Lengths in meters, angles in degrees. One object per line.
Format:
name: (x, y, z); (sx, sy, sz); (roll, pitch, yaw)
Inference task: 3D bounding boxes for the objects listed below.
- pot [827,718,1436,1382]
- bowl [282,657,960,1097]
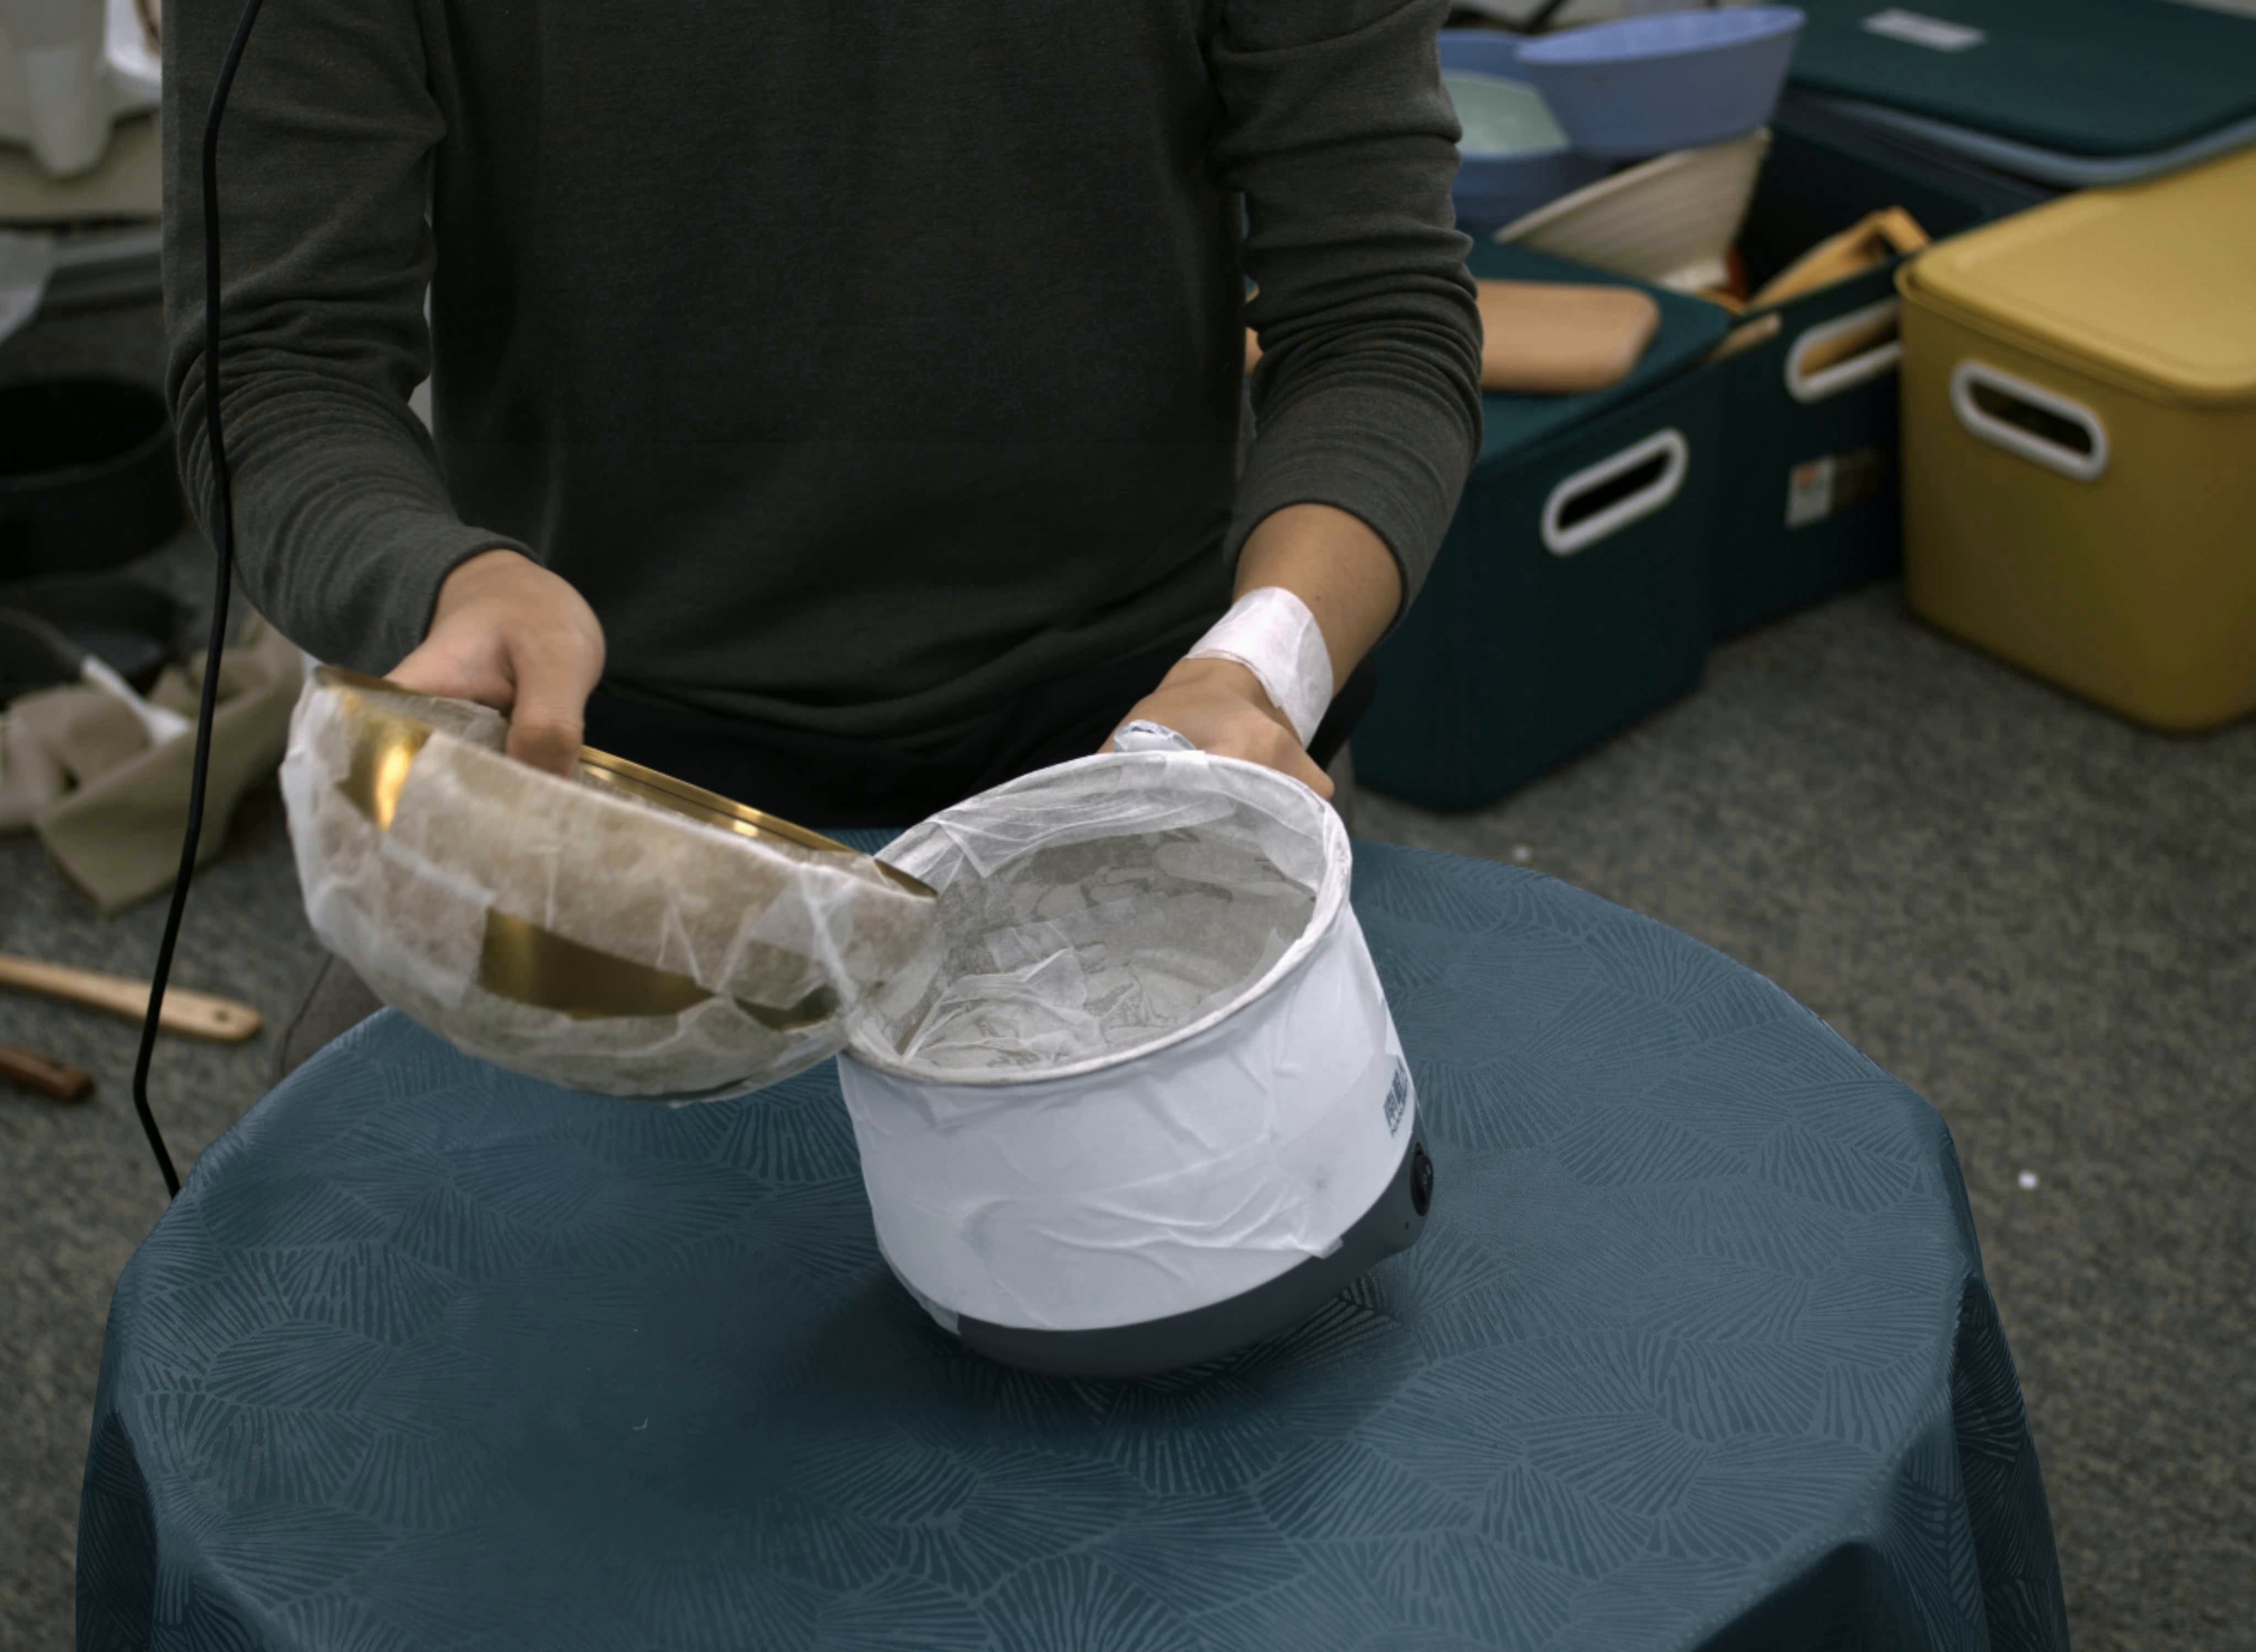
pot: (0.004, 0.063, 1.794); (0.177, 0.135, 0.238); (-6, 31, 16)
bowl: (-0.163, 0.027, 1.671); (0.214, 0.095, 0.215); (18, 2, 0)
